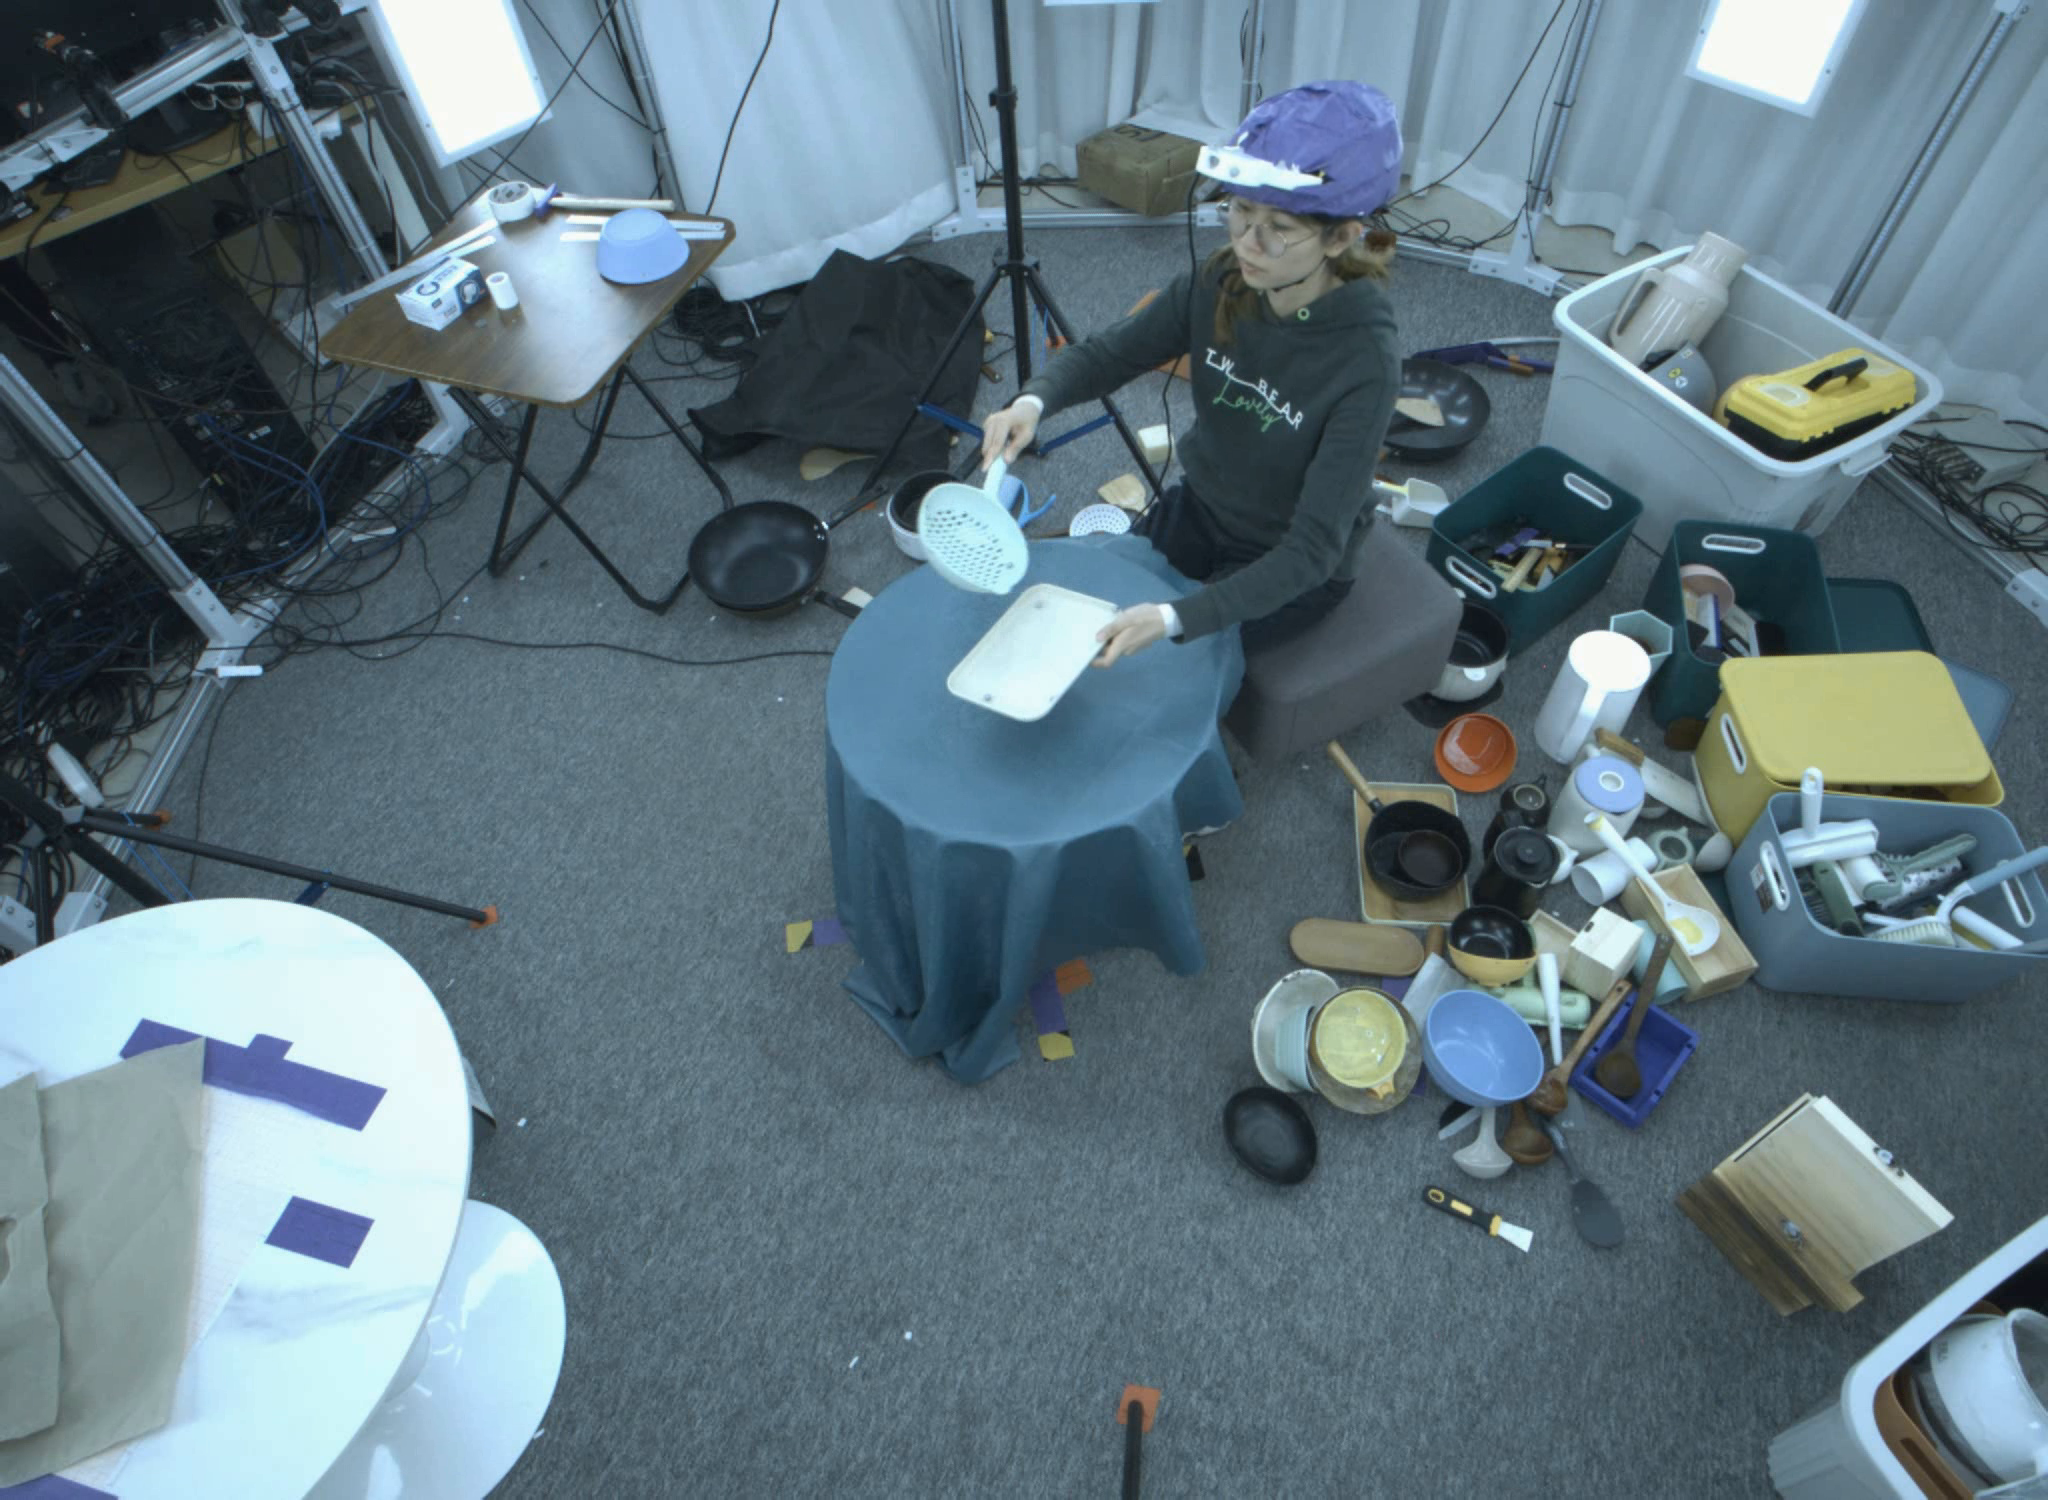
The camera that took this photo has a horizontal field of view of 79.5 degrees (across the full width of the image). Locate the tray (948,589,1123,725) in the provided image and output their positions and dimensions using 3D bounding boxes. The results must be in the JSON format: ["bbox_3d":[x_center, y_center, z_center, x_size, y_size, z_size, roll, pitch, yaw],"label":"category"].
[{"bbox_3d":[0.018,-0.132,1.725,0.168,0.018,0.240,22,58,29],"label":"tray"}]

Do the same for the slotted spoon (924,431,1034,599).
[{"bbox_3d":[-0.048,-0.351,1.723,0.172,0.074,0.357,32,55,-23],"label":"slotted spoon"}]
